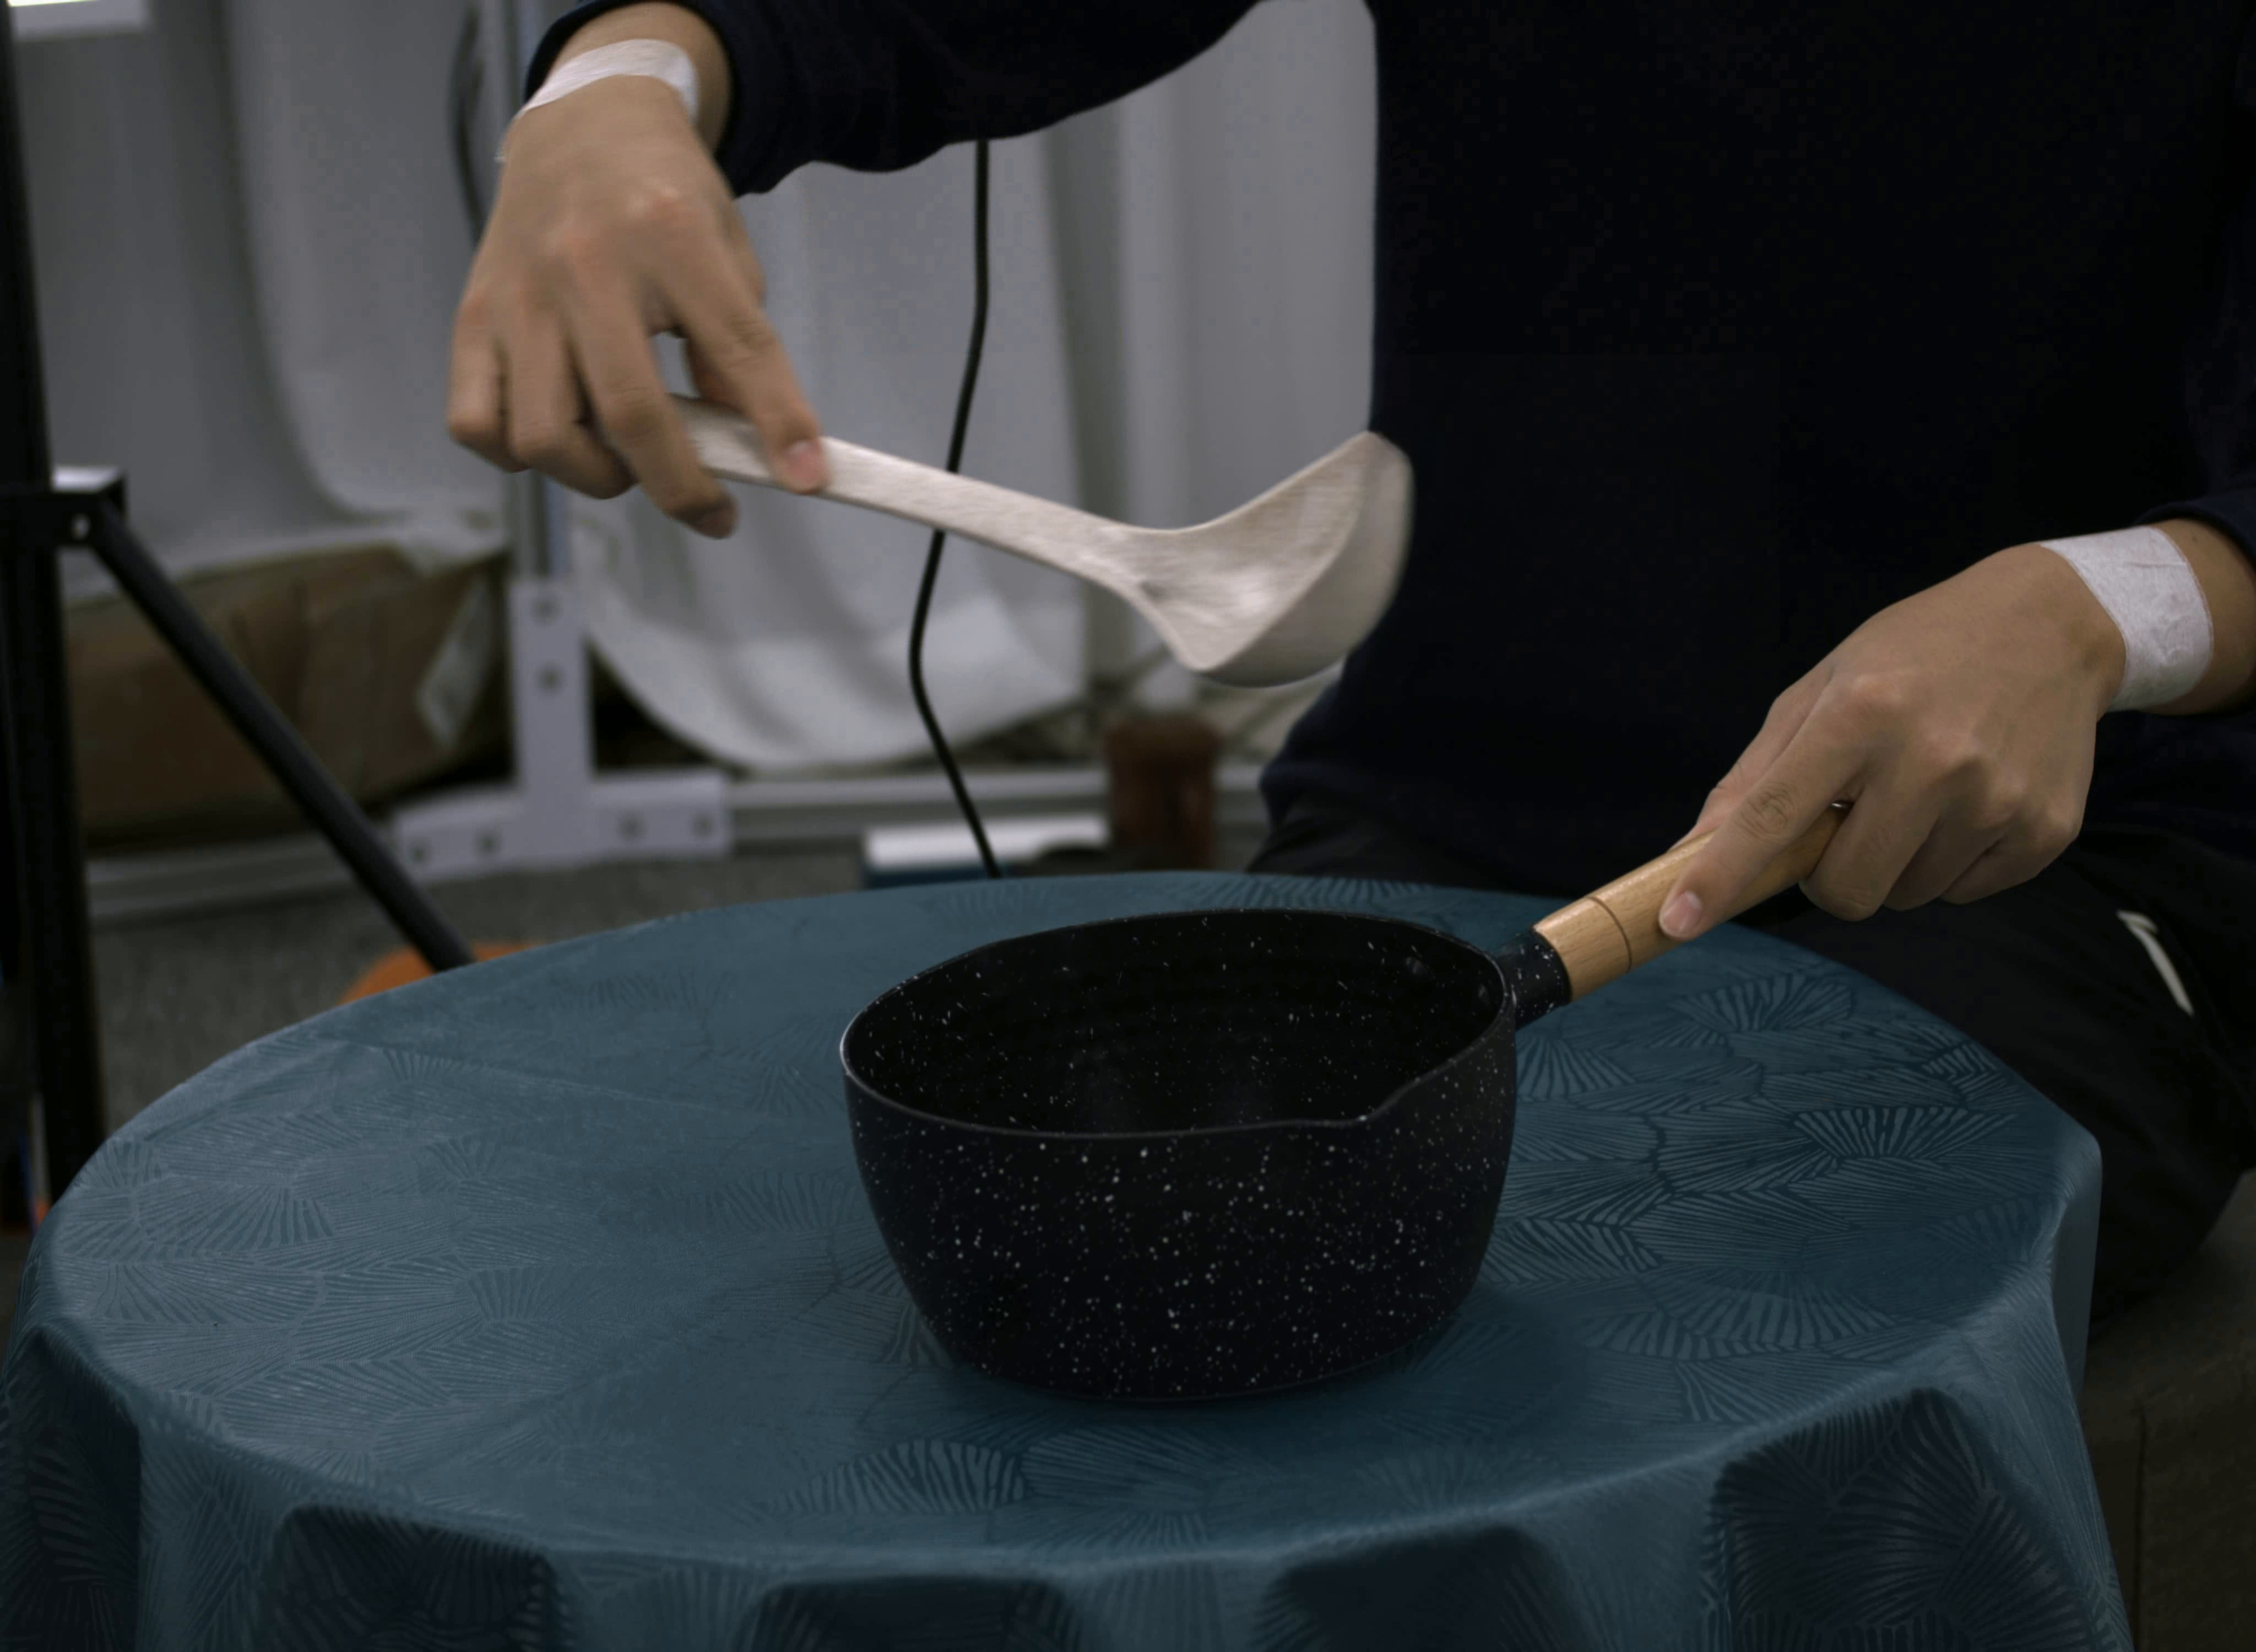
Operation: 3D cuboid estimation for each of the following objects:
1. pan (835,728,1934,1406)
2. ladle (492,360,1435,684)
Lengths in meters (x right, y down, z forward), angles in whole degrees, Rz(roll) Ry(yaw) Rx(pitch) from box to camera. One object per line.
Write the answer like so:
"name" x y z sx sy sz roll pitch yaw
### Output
"pan" 0.084 0.062 1.478 0.336 0.108 0.212 -16 18 -25
"ladle" -0.050 -0.105 1.423 0.278 0.069 0.089 18 53 18
